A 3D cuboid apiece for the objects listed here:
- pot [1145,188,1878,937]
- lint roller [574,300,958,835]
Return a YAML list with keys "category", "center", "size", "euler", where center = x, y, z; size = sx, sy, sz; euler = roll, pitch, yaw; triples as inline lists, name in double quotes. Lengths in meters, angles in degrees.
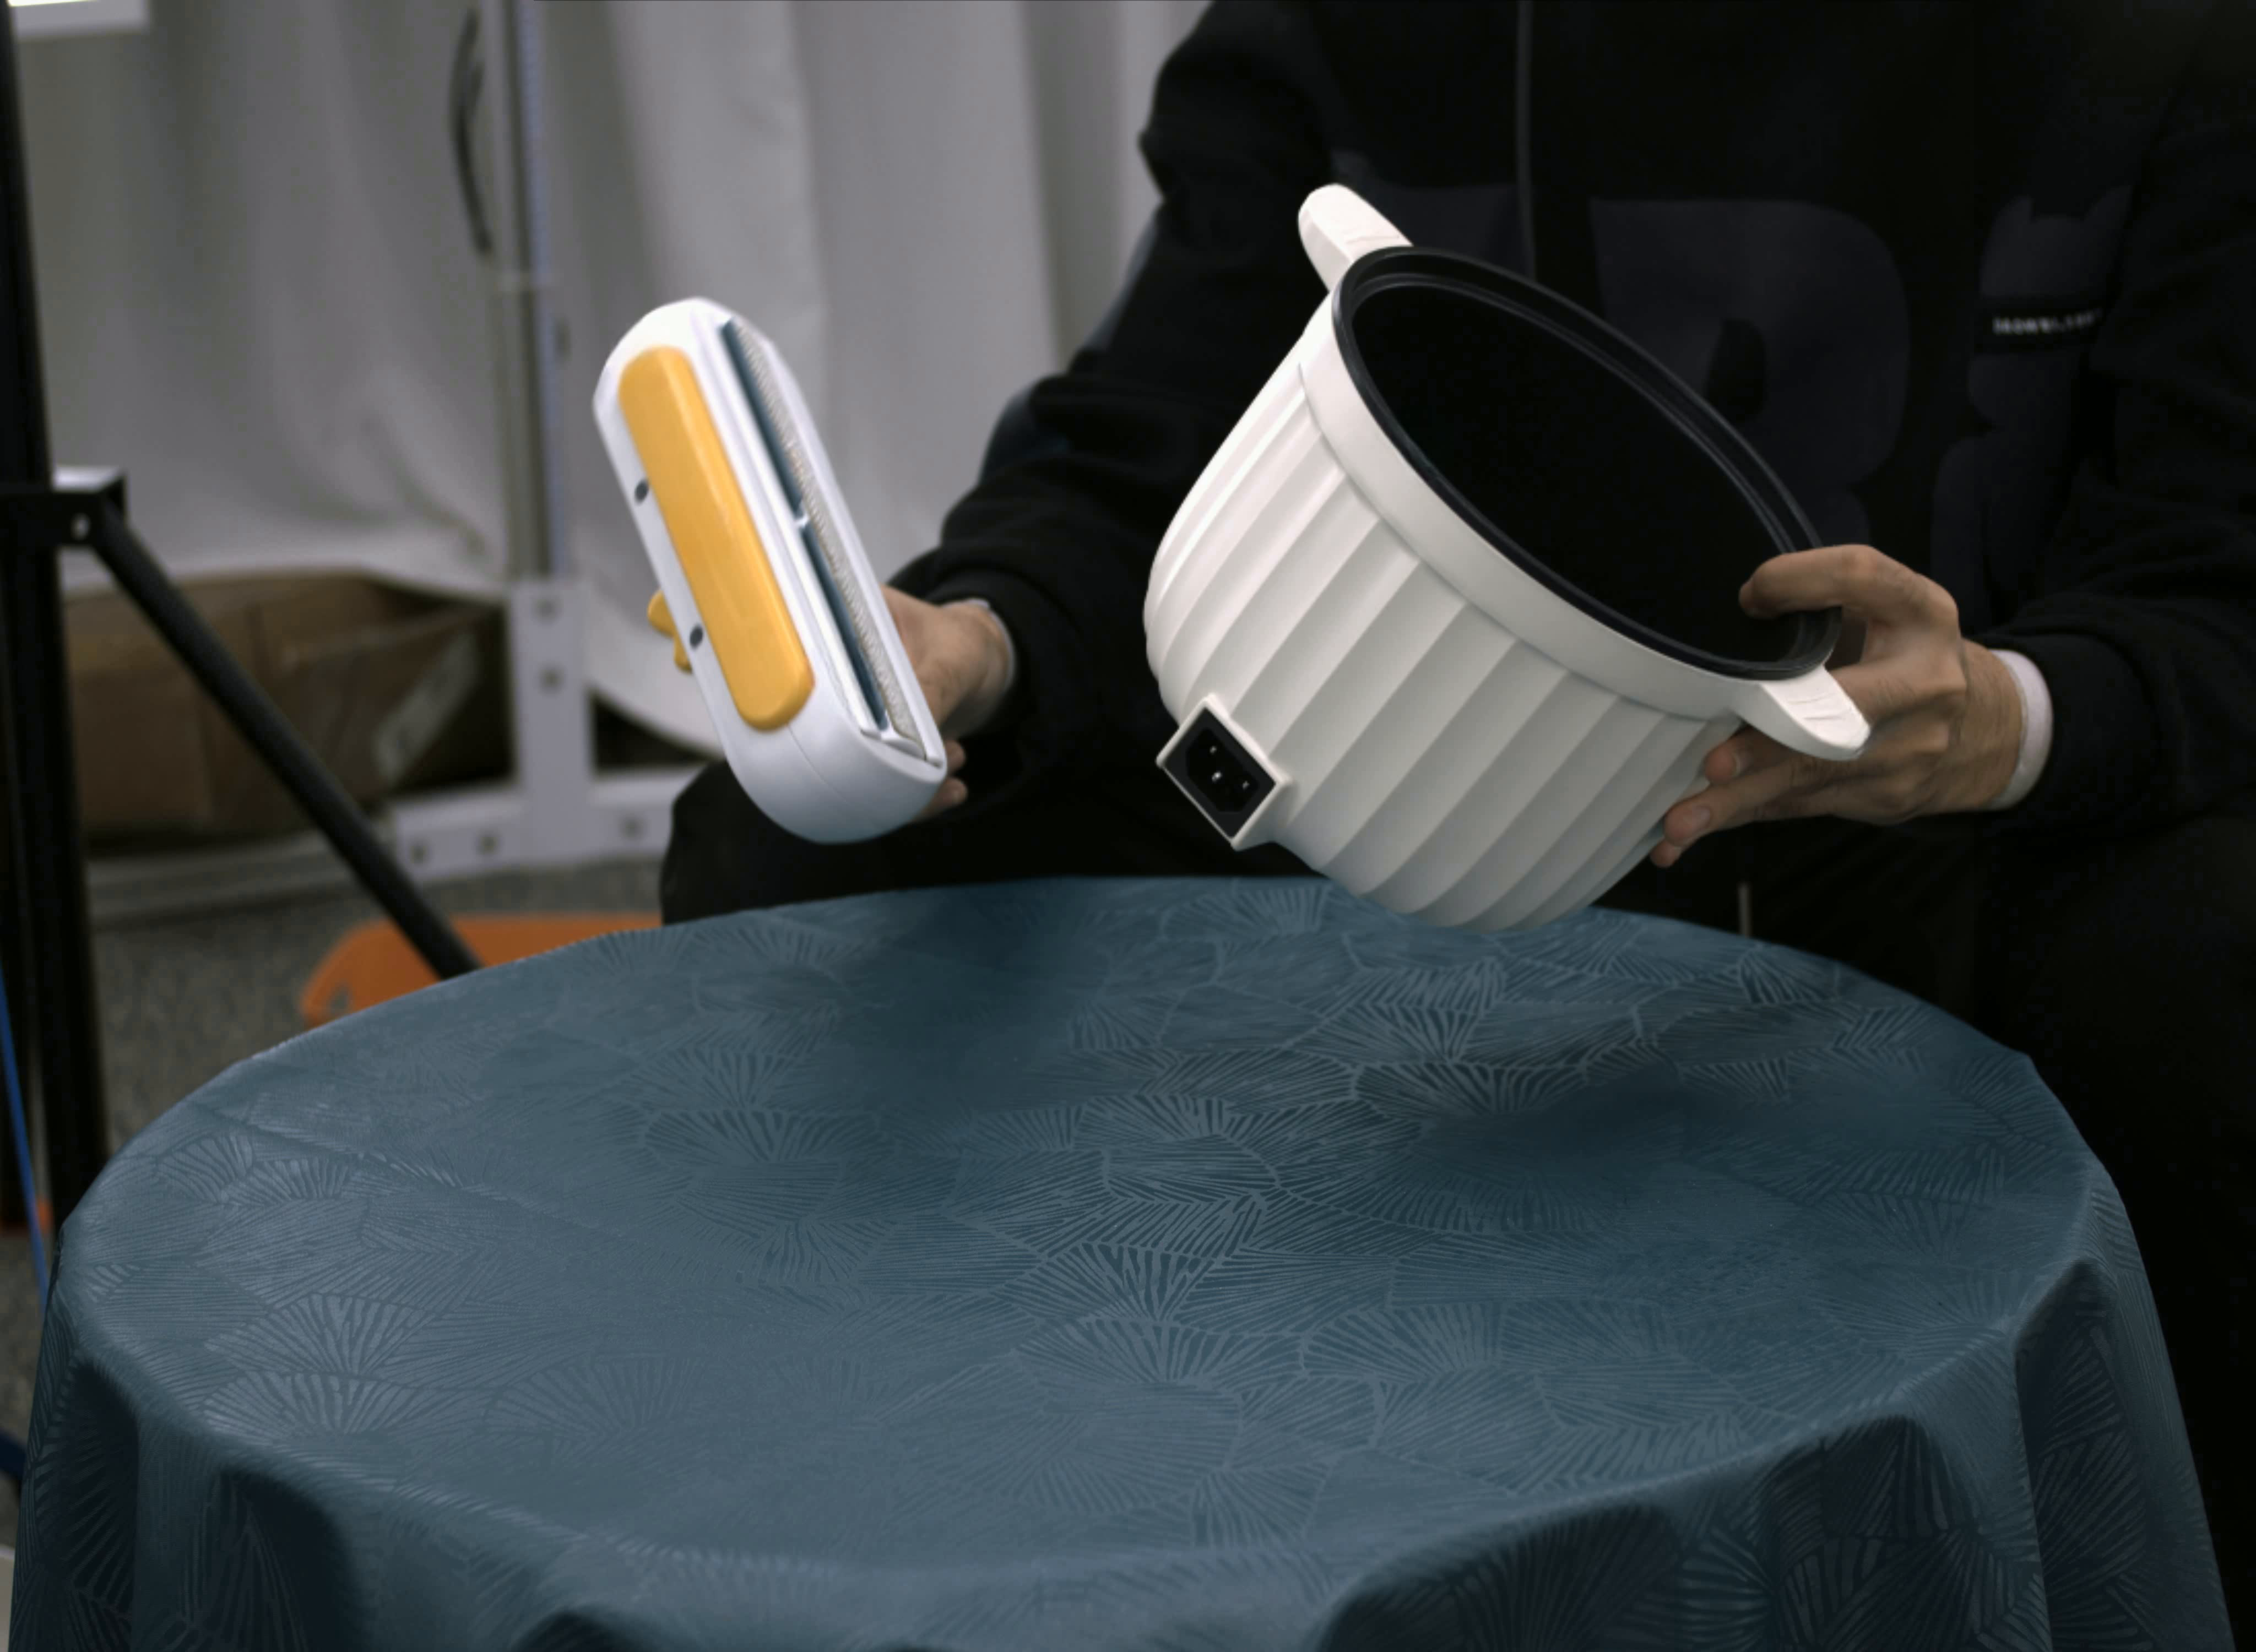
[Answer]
- category: "pot"
  center: [0.103, -0.064, 1.590]
  size: [0.243, 0.144, 0.186]
  euler: [48, 33, 17]
- category: "lint roller"
  center: [-0.096, -0.057, 1.719]
  size: [0.074, 0.188, 0.196]
  euler: [-36, 55, 11]
